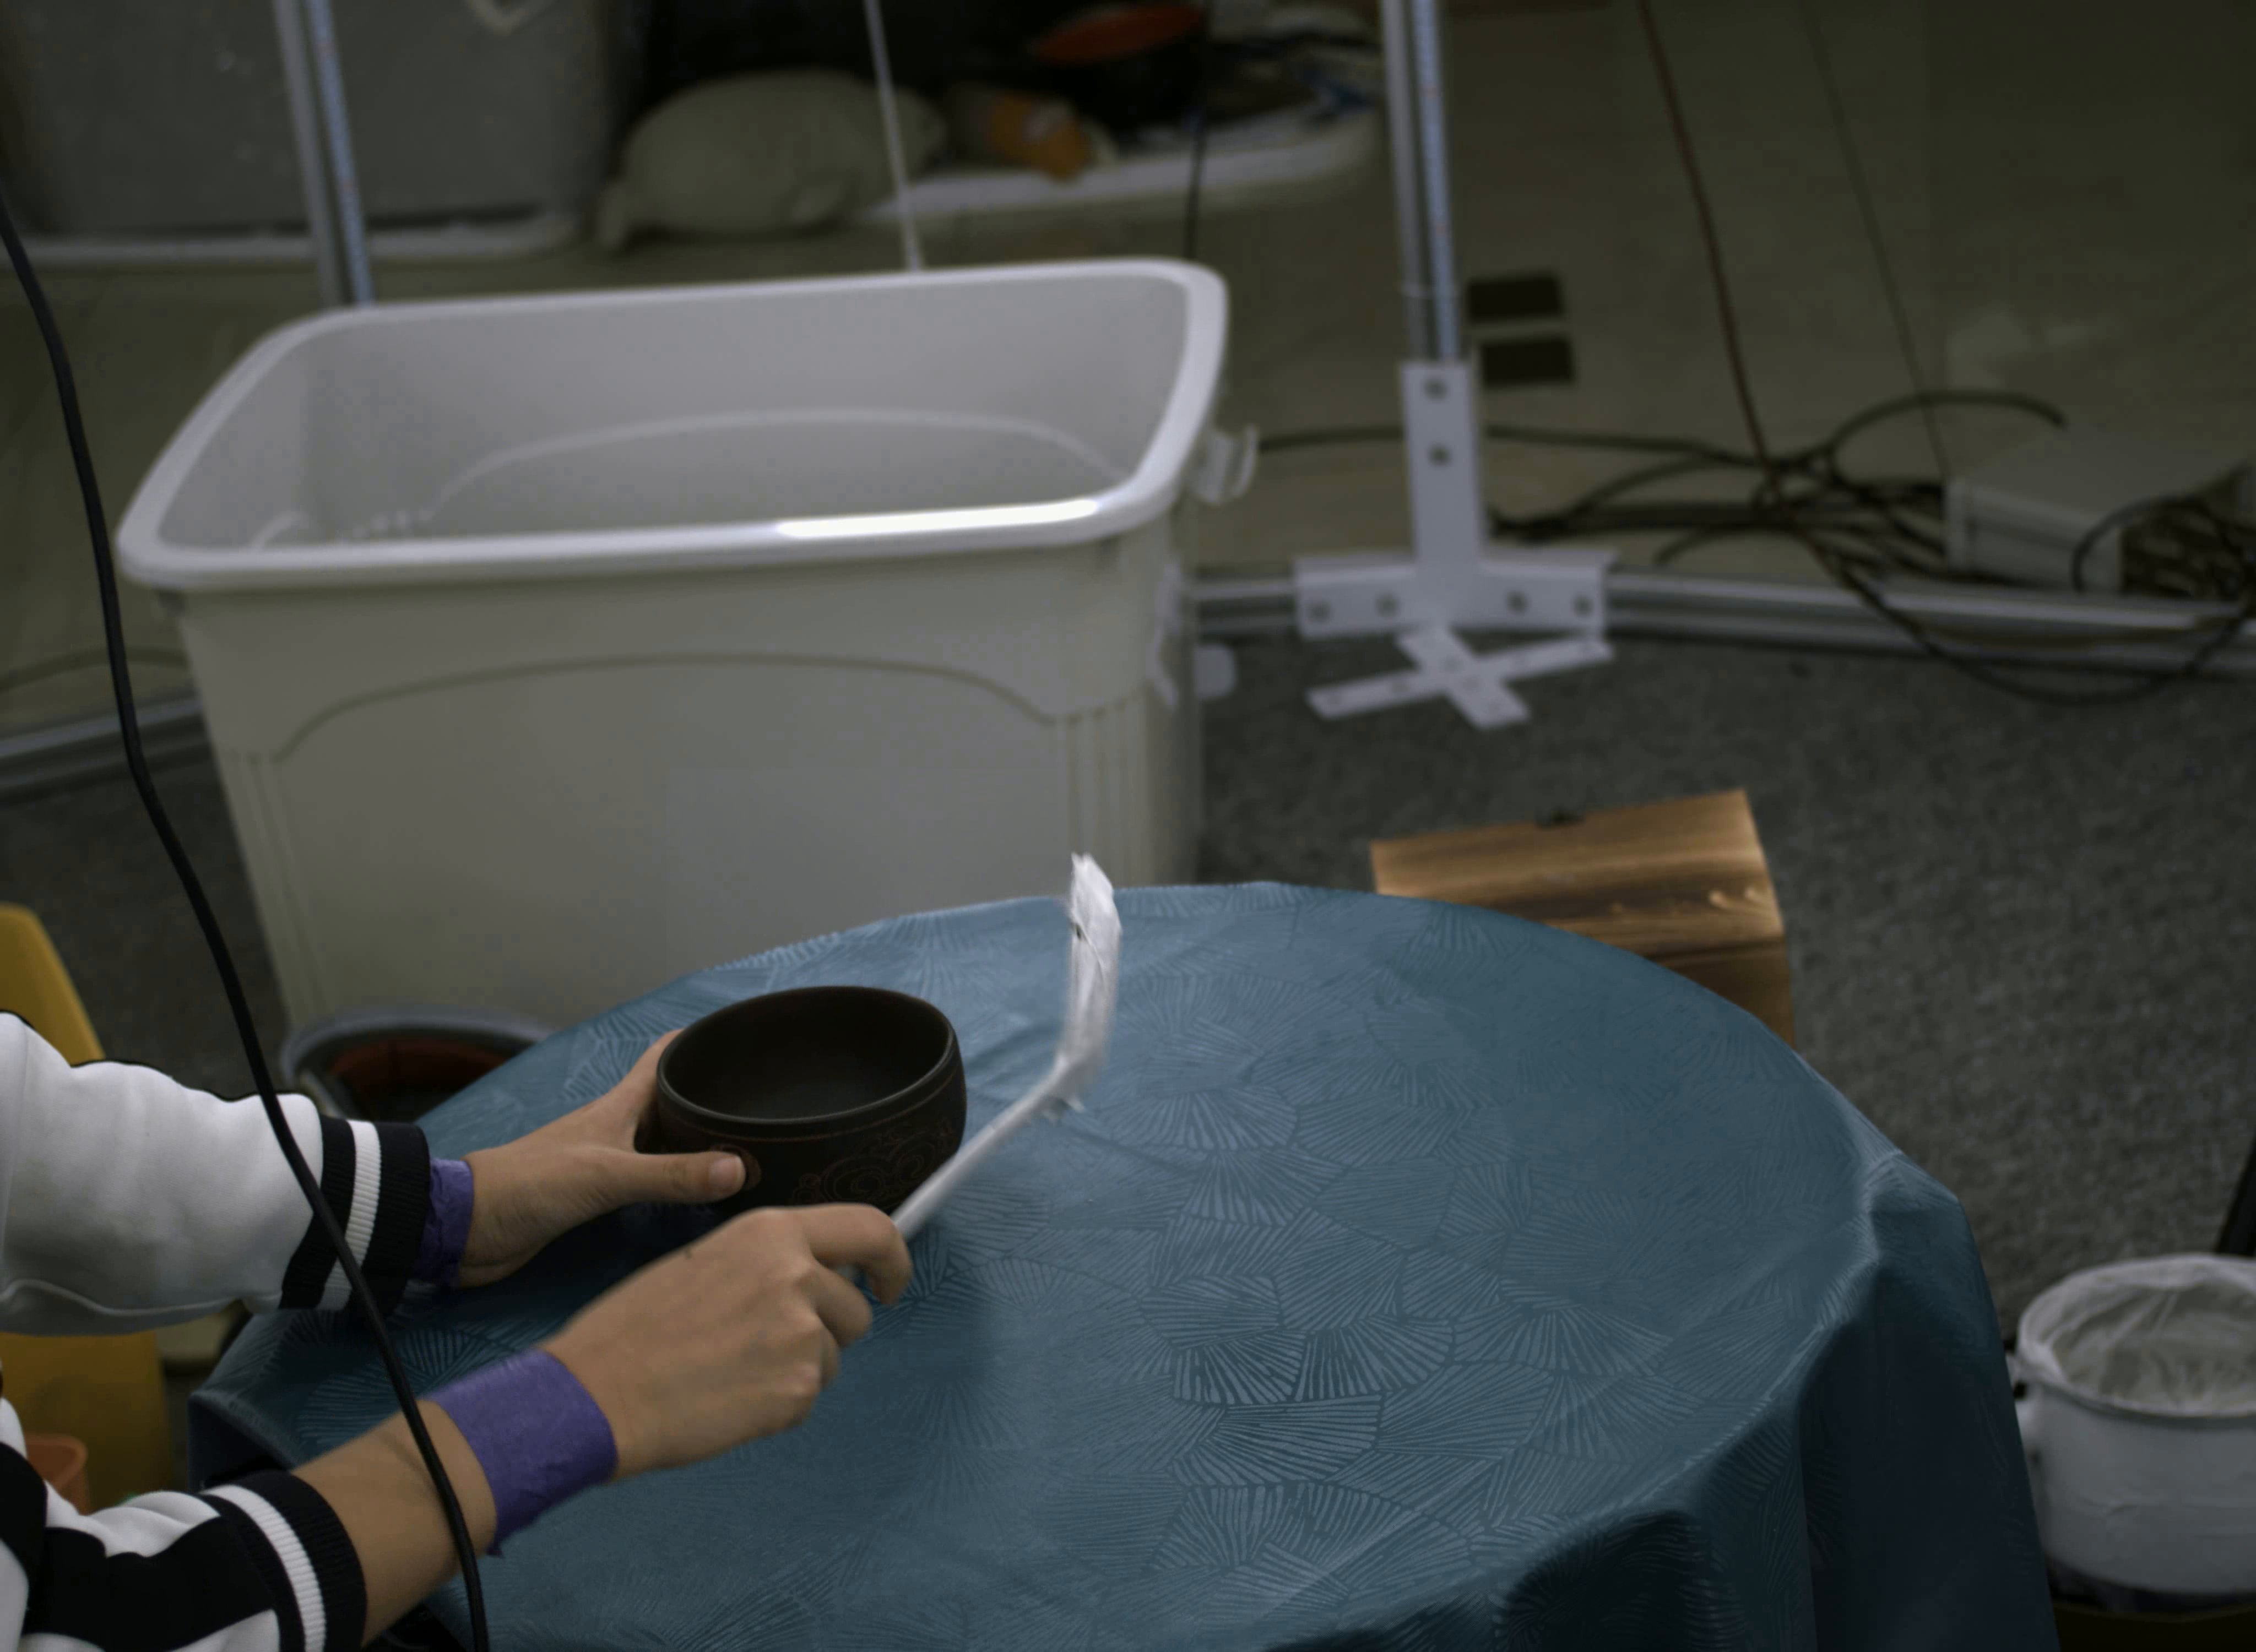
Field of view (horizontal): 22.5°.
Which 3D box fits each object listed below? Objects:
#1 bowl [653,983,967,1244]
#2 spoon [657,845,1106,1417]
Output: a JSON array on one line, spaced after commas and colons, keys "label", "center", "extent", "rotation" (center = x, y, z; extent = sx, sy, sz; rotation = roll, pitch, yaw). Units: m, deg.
[{"label": "bowl", "center": [-0.118, 0.114, 2.142], "extent": [0.118, 0.071, 0.116], "rotation": [-5, 25, 3]}, {"label": "spoon", "center": [-0.087, 0.108, 1.946], "extent": [0.059, 0.102, 0.274], "rotation": [34, 52, 21]}]
